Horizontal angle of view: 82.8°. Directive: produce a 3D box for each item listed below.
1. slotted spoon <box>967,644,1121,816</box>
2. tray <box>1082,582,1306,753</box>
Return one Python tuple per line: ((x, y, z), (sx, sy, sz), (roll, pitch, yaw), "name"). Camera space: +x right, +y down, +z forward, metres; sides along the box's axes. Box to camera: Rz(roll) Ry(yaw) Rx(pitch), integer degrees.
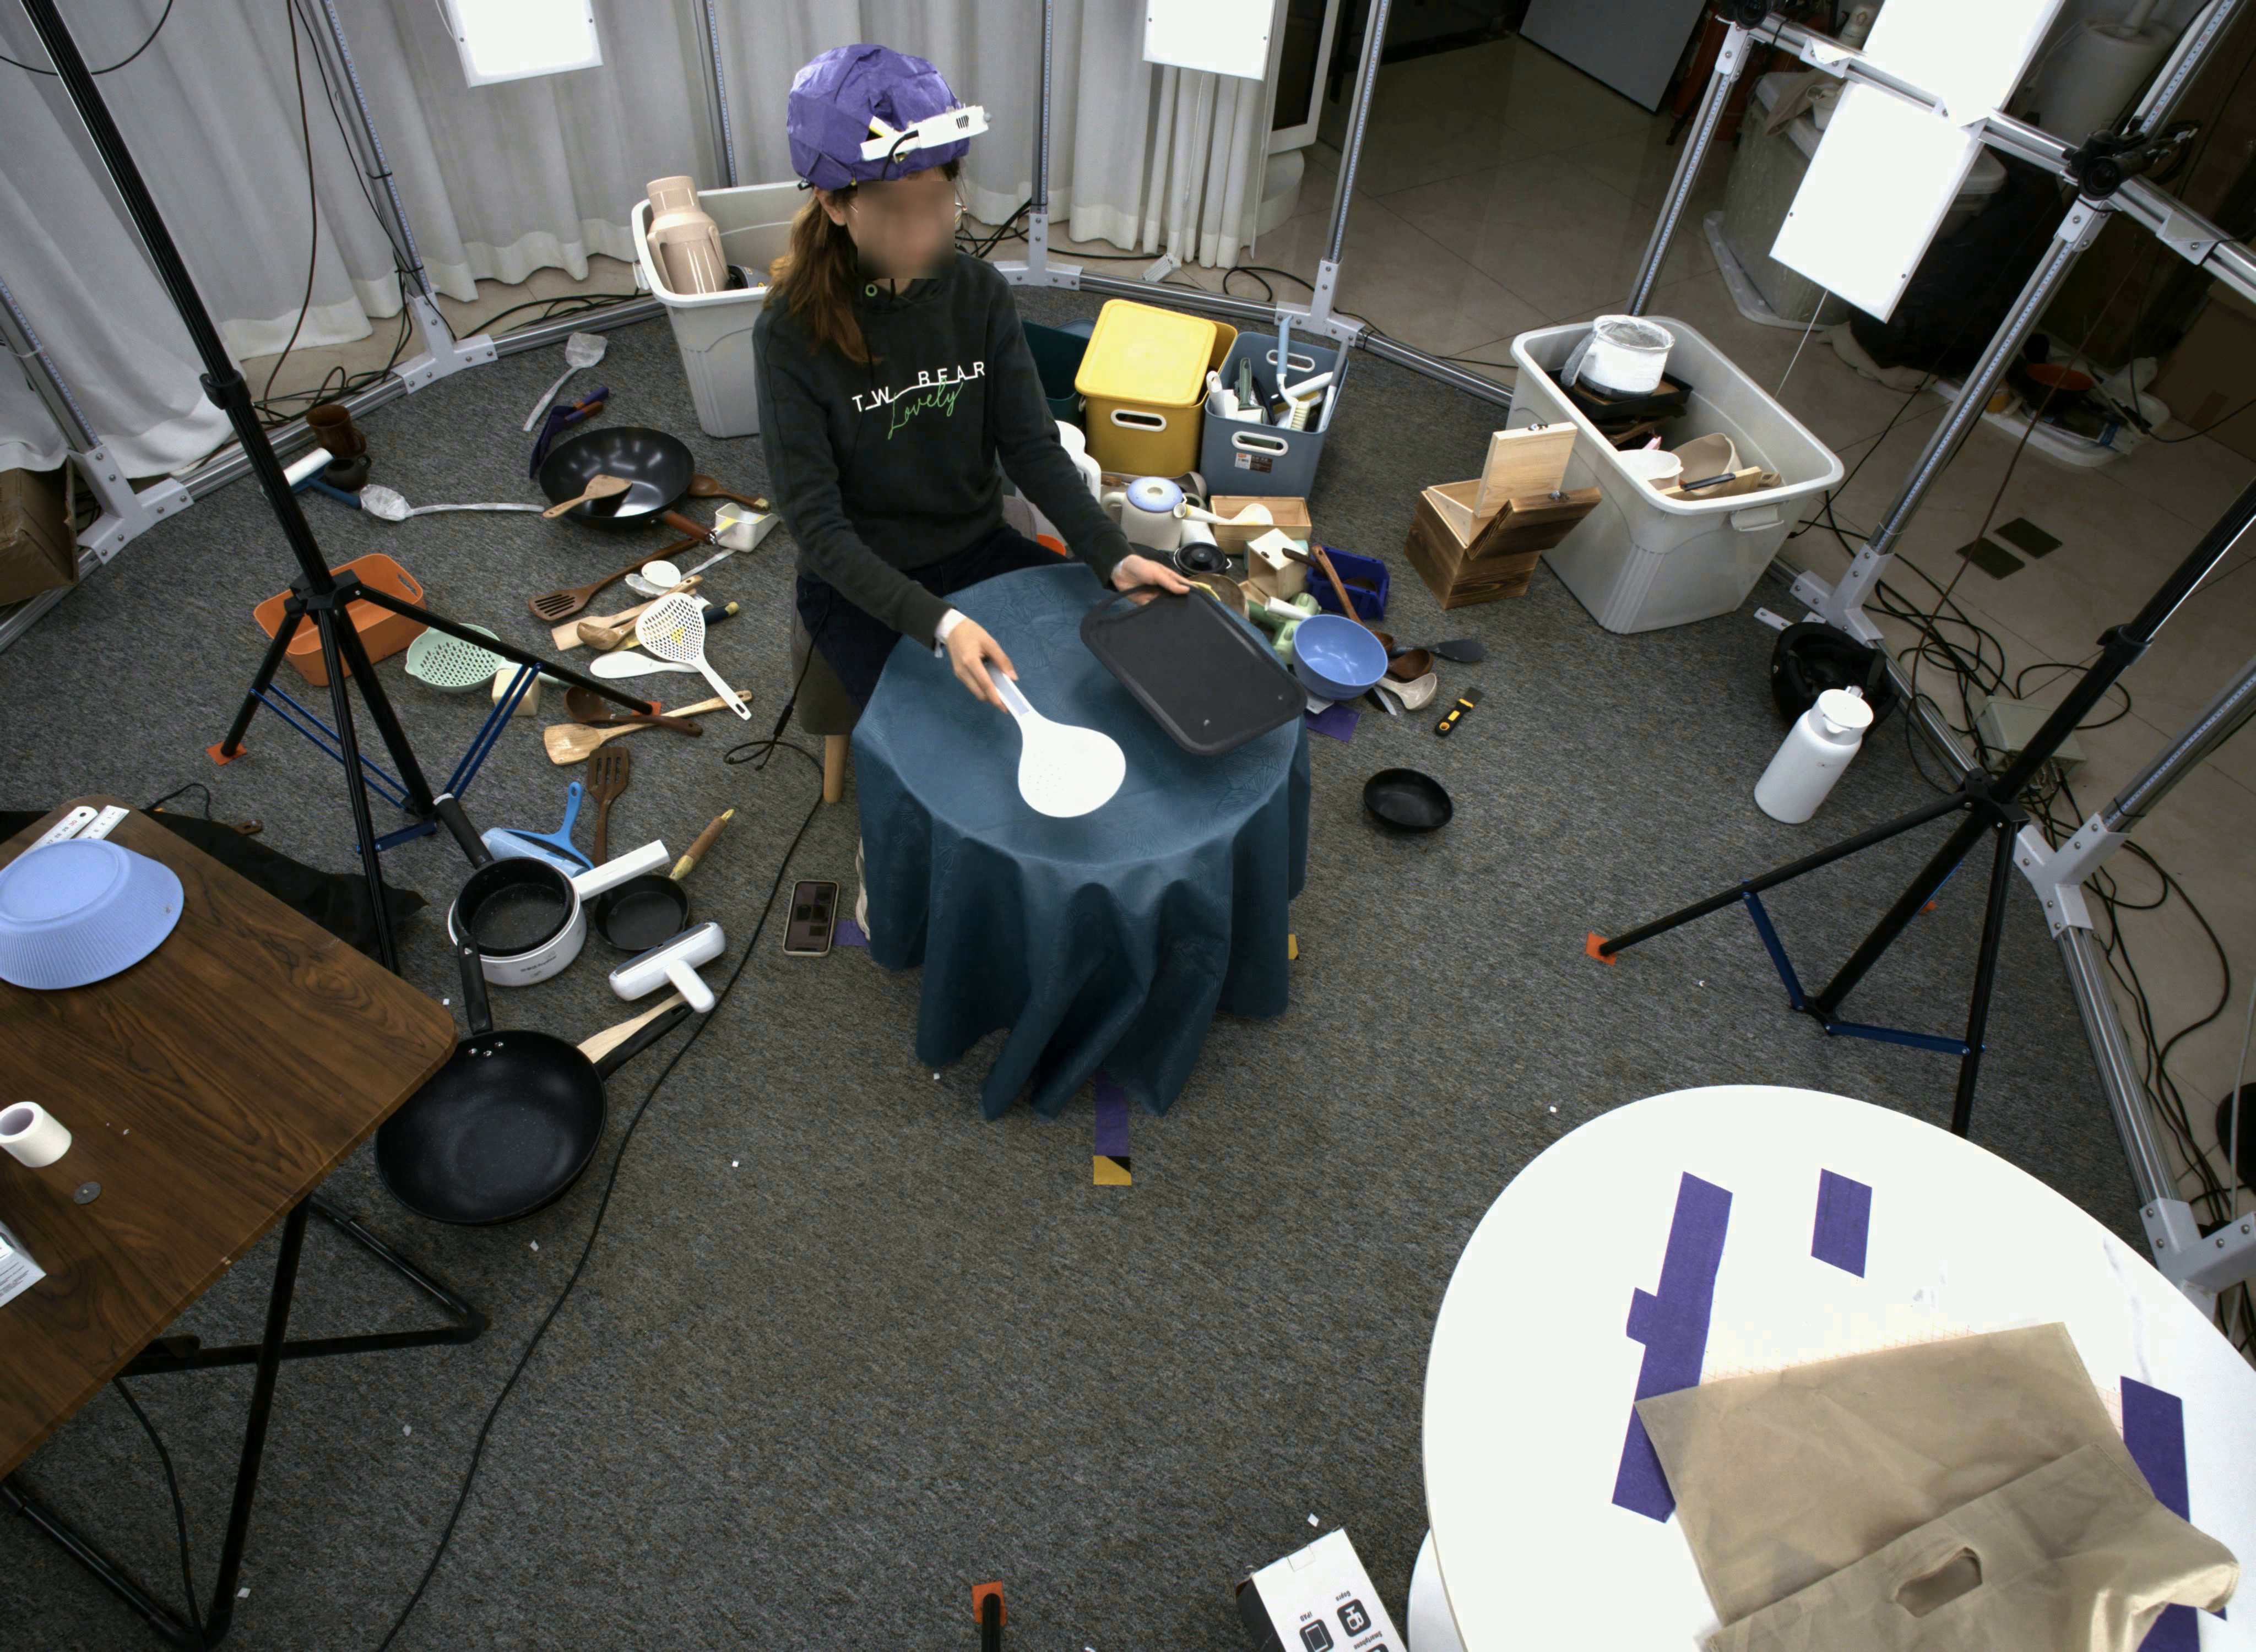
((-0.128, -0.134, 1.690), (0.136, 0.044, 0.357), (-31, 56, -9), "slotted spoon")
((0.083, -0.231, 1.779), (0.212, 0.009, 0.332), (-25, 56, -23), "tray")
